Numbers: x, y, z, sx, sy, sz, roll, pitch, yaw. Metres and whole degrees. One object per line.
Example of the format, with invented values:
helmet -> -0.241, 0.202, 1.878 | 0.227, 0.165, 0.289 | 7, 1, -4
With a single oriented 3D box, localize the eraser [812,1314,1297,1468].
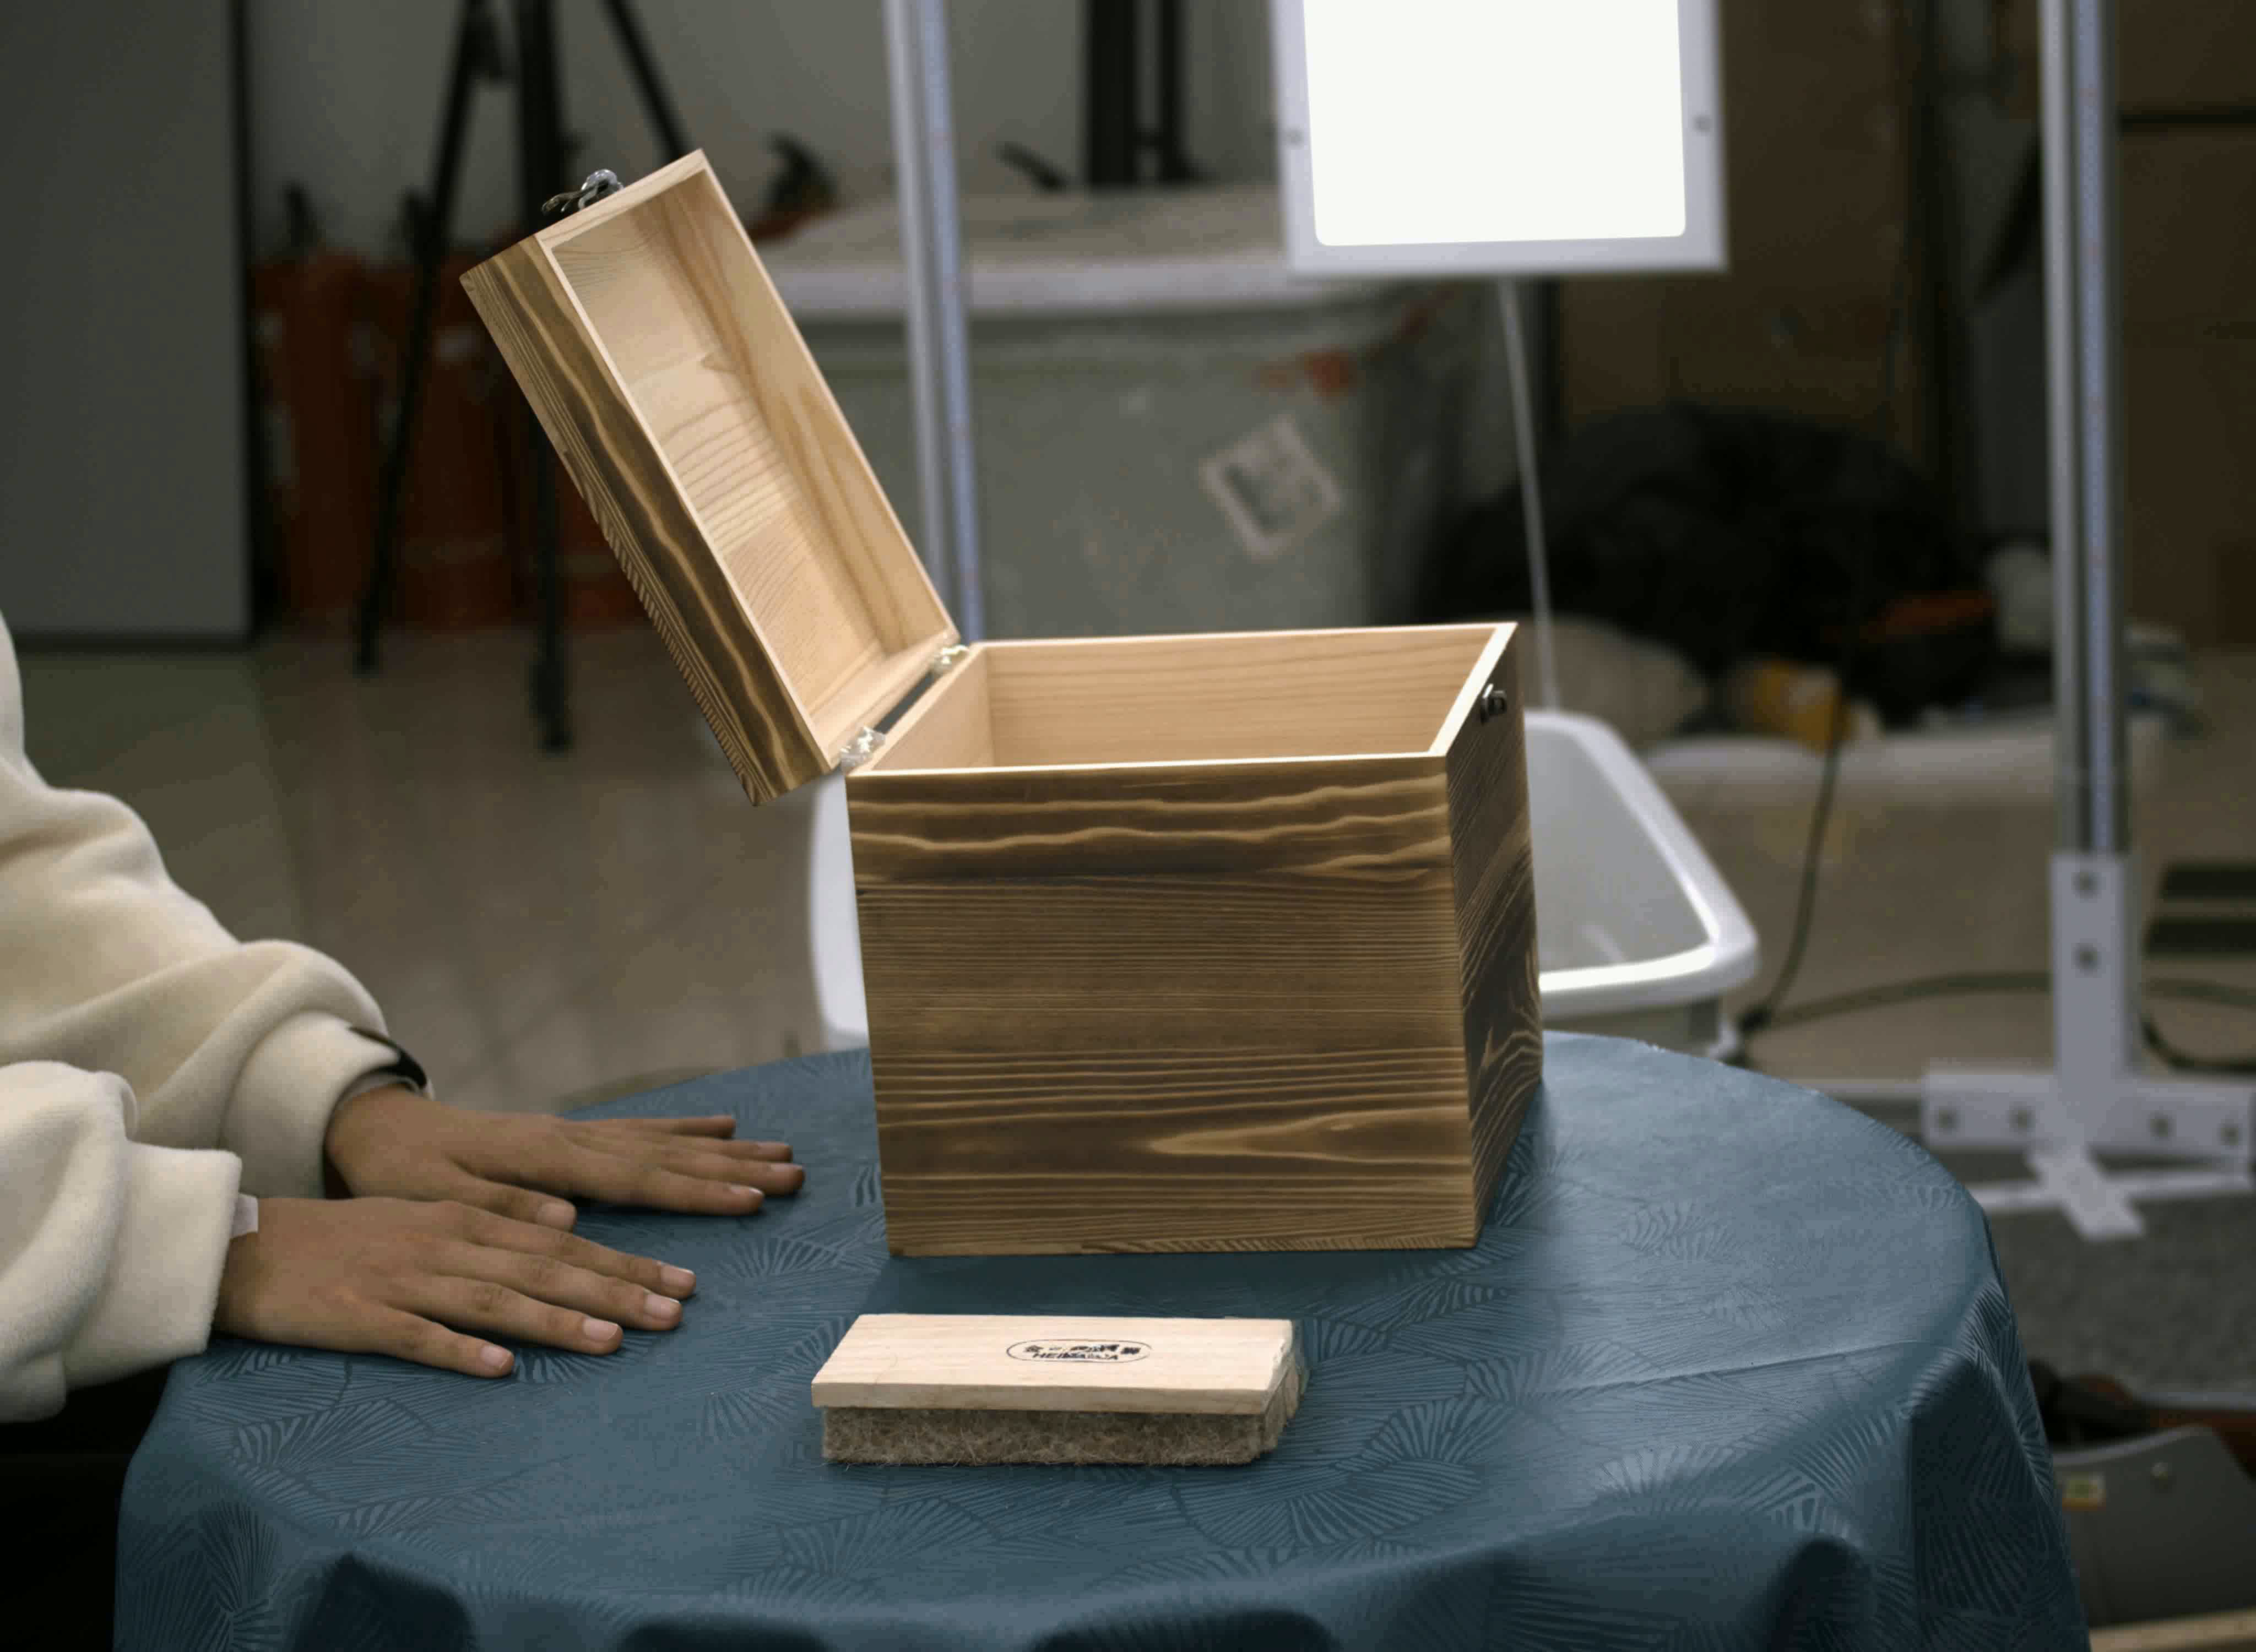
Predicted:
eraser -> -0.021, 0.171, 1.665 | 0.141, 0.029, 0.056 | -2, 18, 18

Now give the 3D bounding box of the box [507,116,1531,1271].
box -> -0.029, -0.056, 1.887 | 0.324, 0.377, 0.206 | -1, 15, 12
